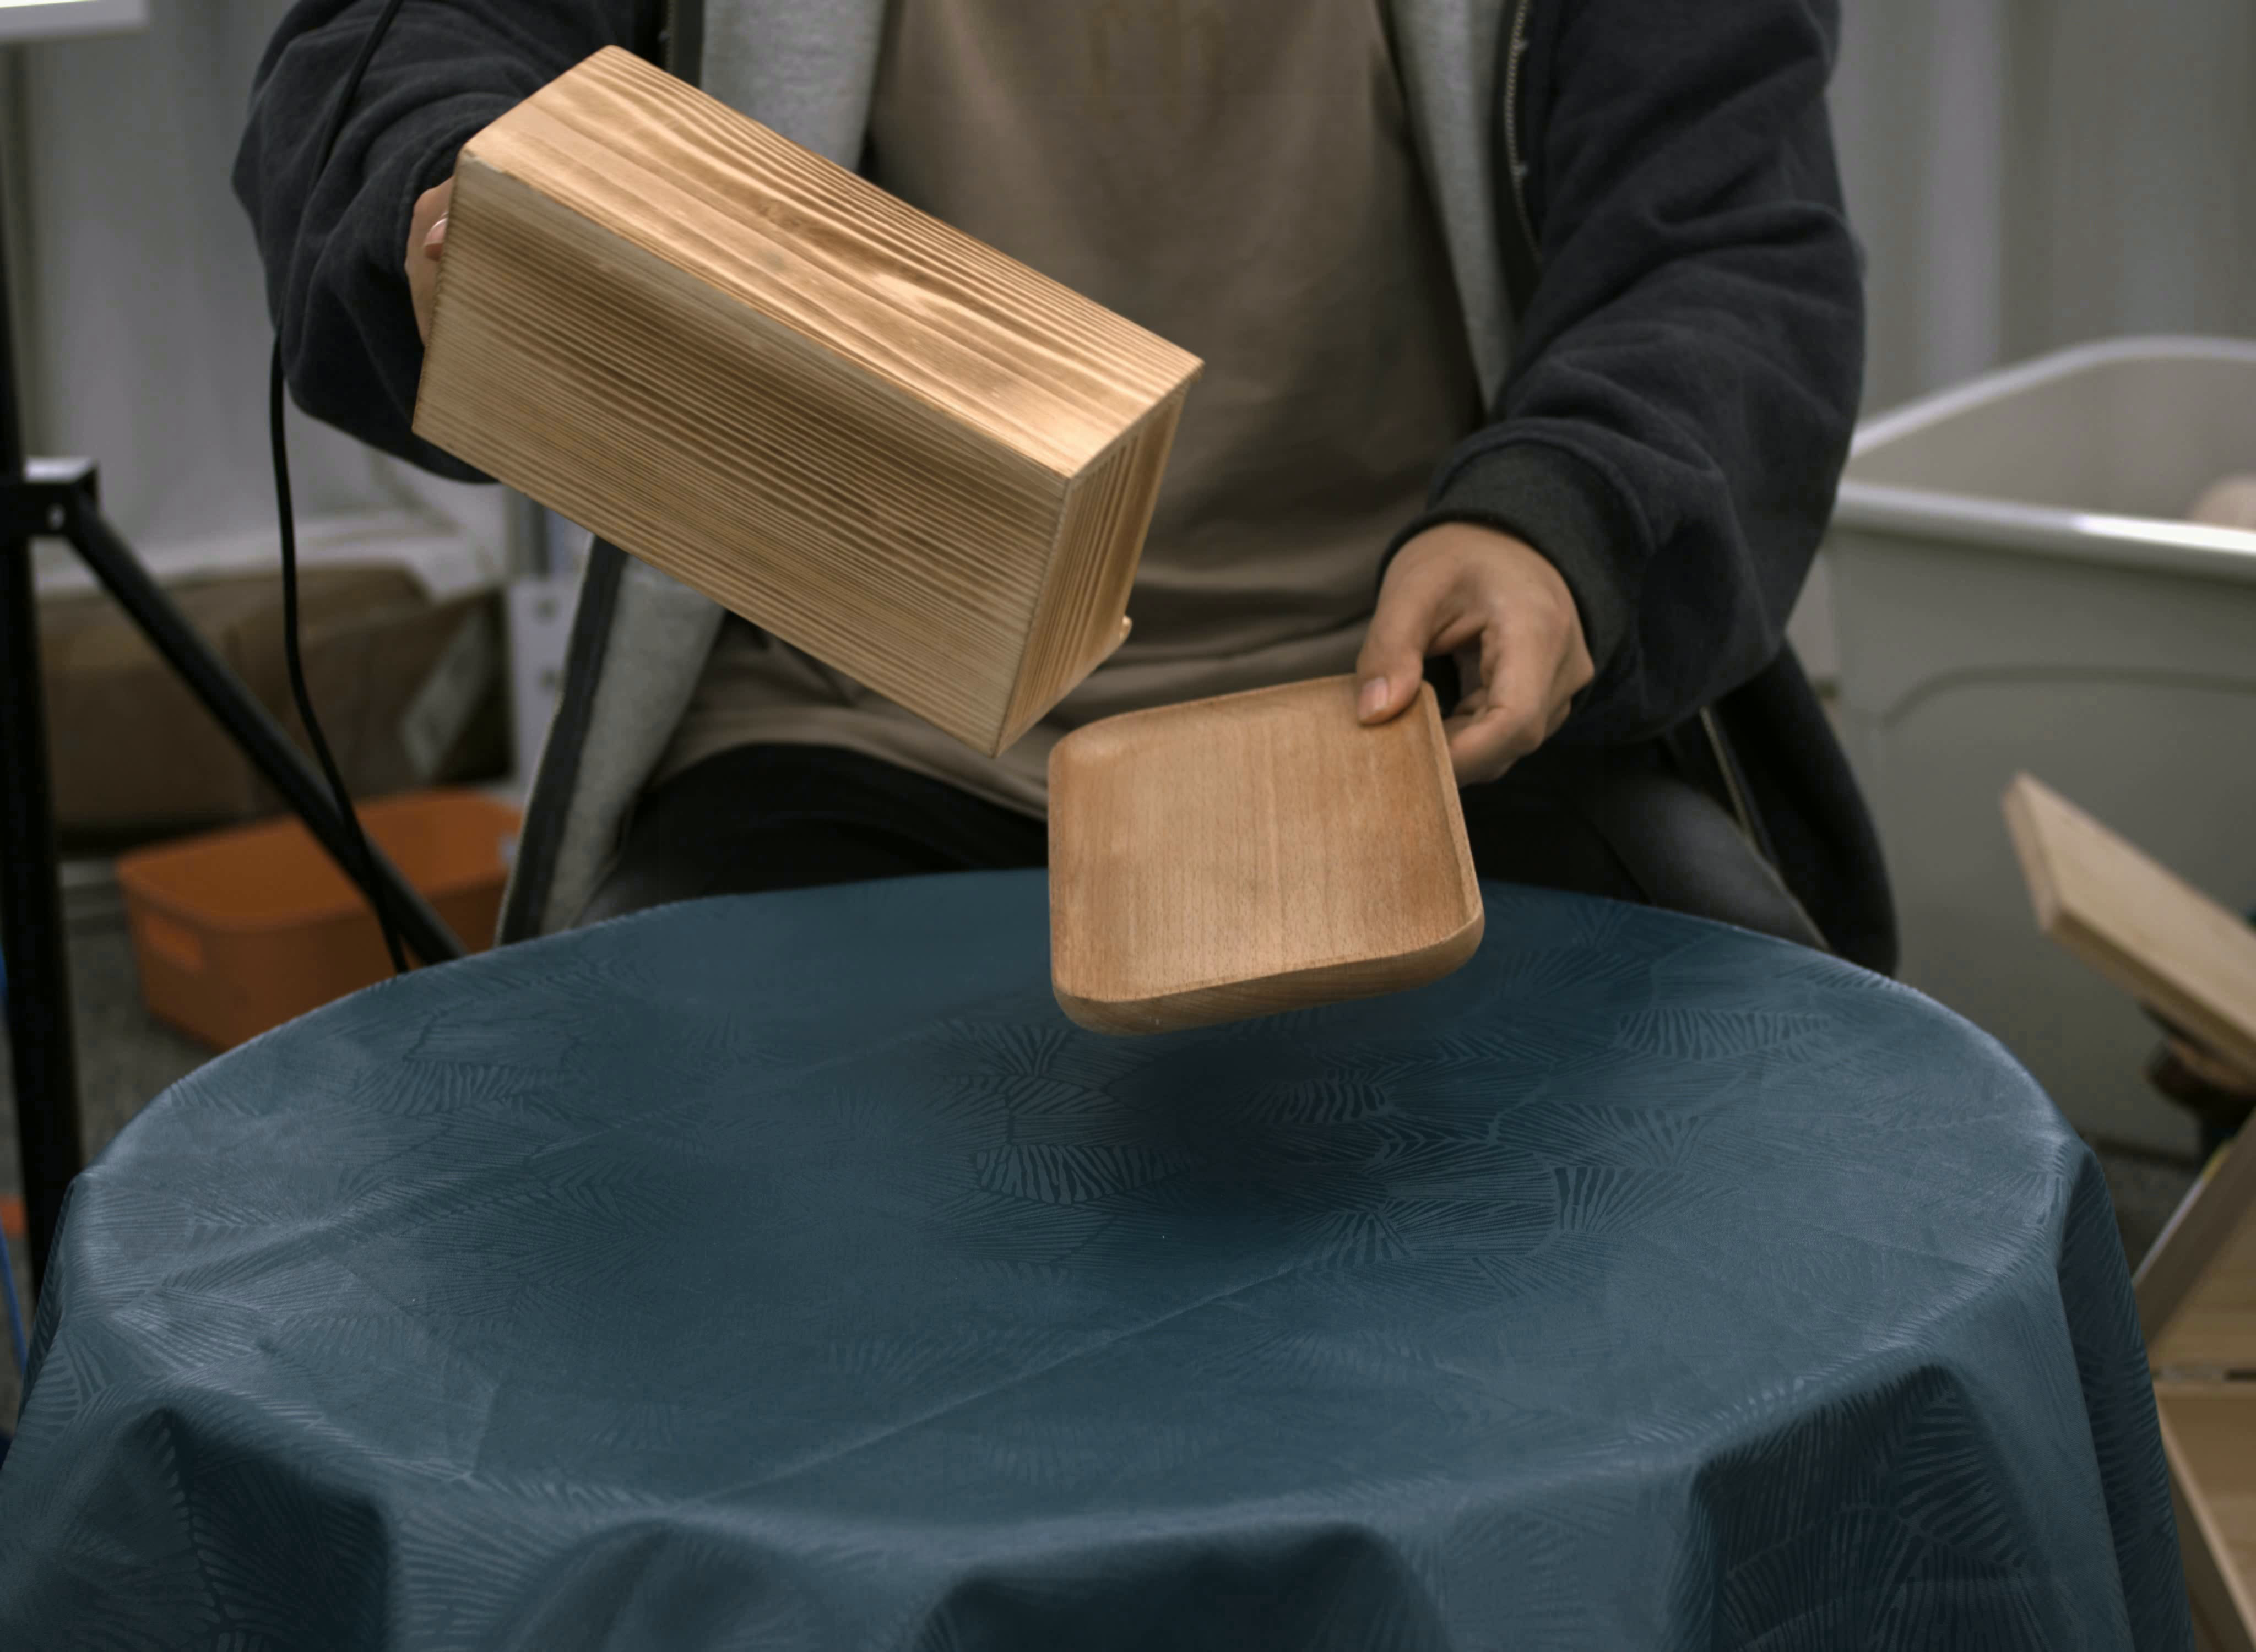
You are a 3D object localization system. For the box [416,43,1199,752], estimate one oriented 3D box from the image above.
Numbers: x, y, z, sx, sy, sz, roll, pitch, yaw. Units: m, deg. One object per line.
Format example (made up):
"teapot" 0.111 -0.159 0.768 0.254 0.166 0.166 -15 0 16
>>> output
"box" -0.097 -0.127 1.568 0.214 0.107 0.079 29 42 18

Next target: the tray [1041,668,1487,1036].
"tray" 0.038 0.005 1.620 0.130 0.023 0.252 -8 19 3
